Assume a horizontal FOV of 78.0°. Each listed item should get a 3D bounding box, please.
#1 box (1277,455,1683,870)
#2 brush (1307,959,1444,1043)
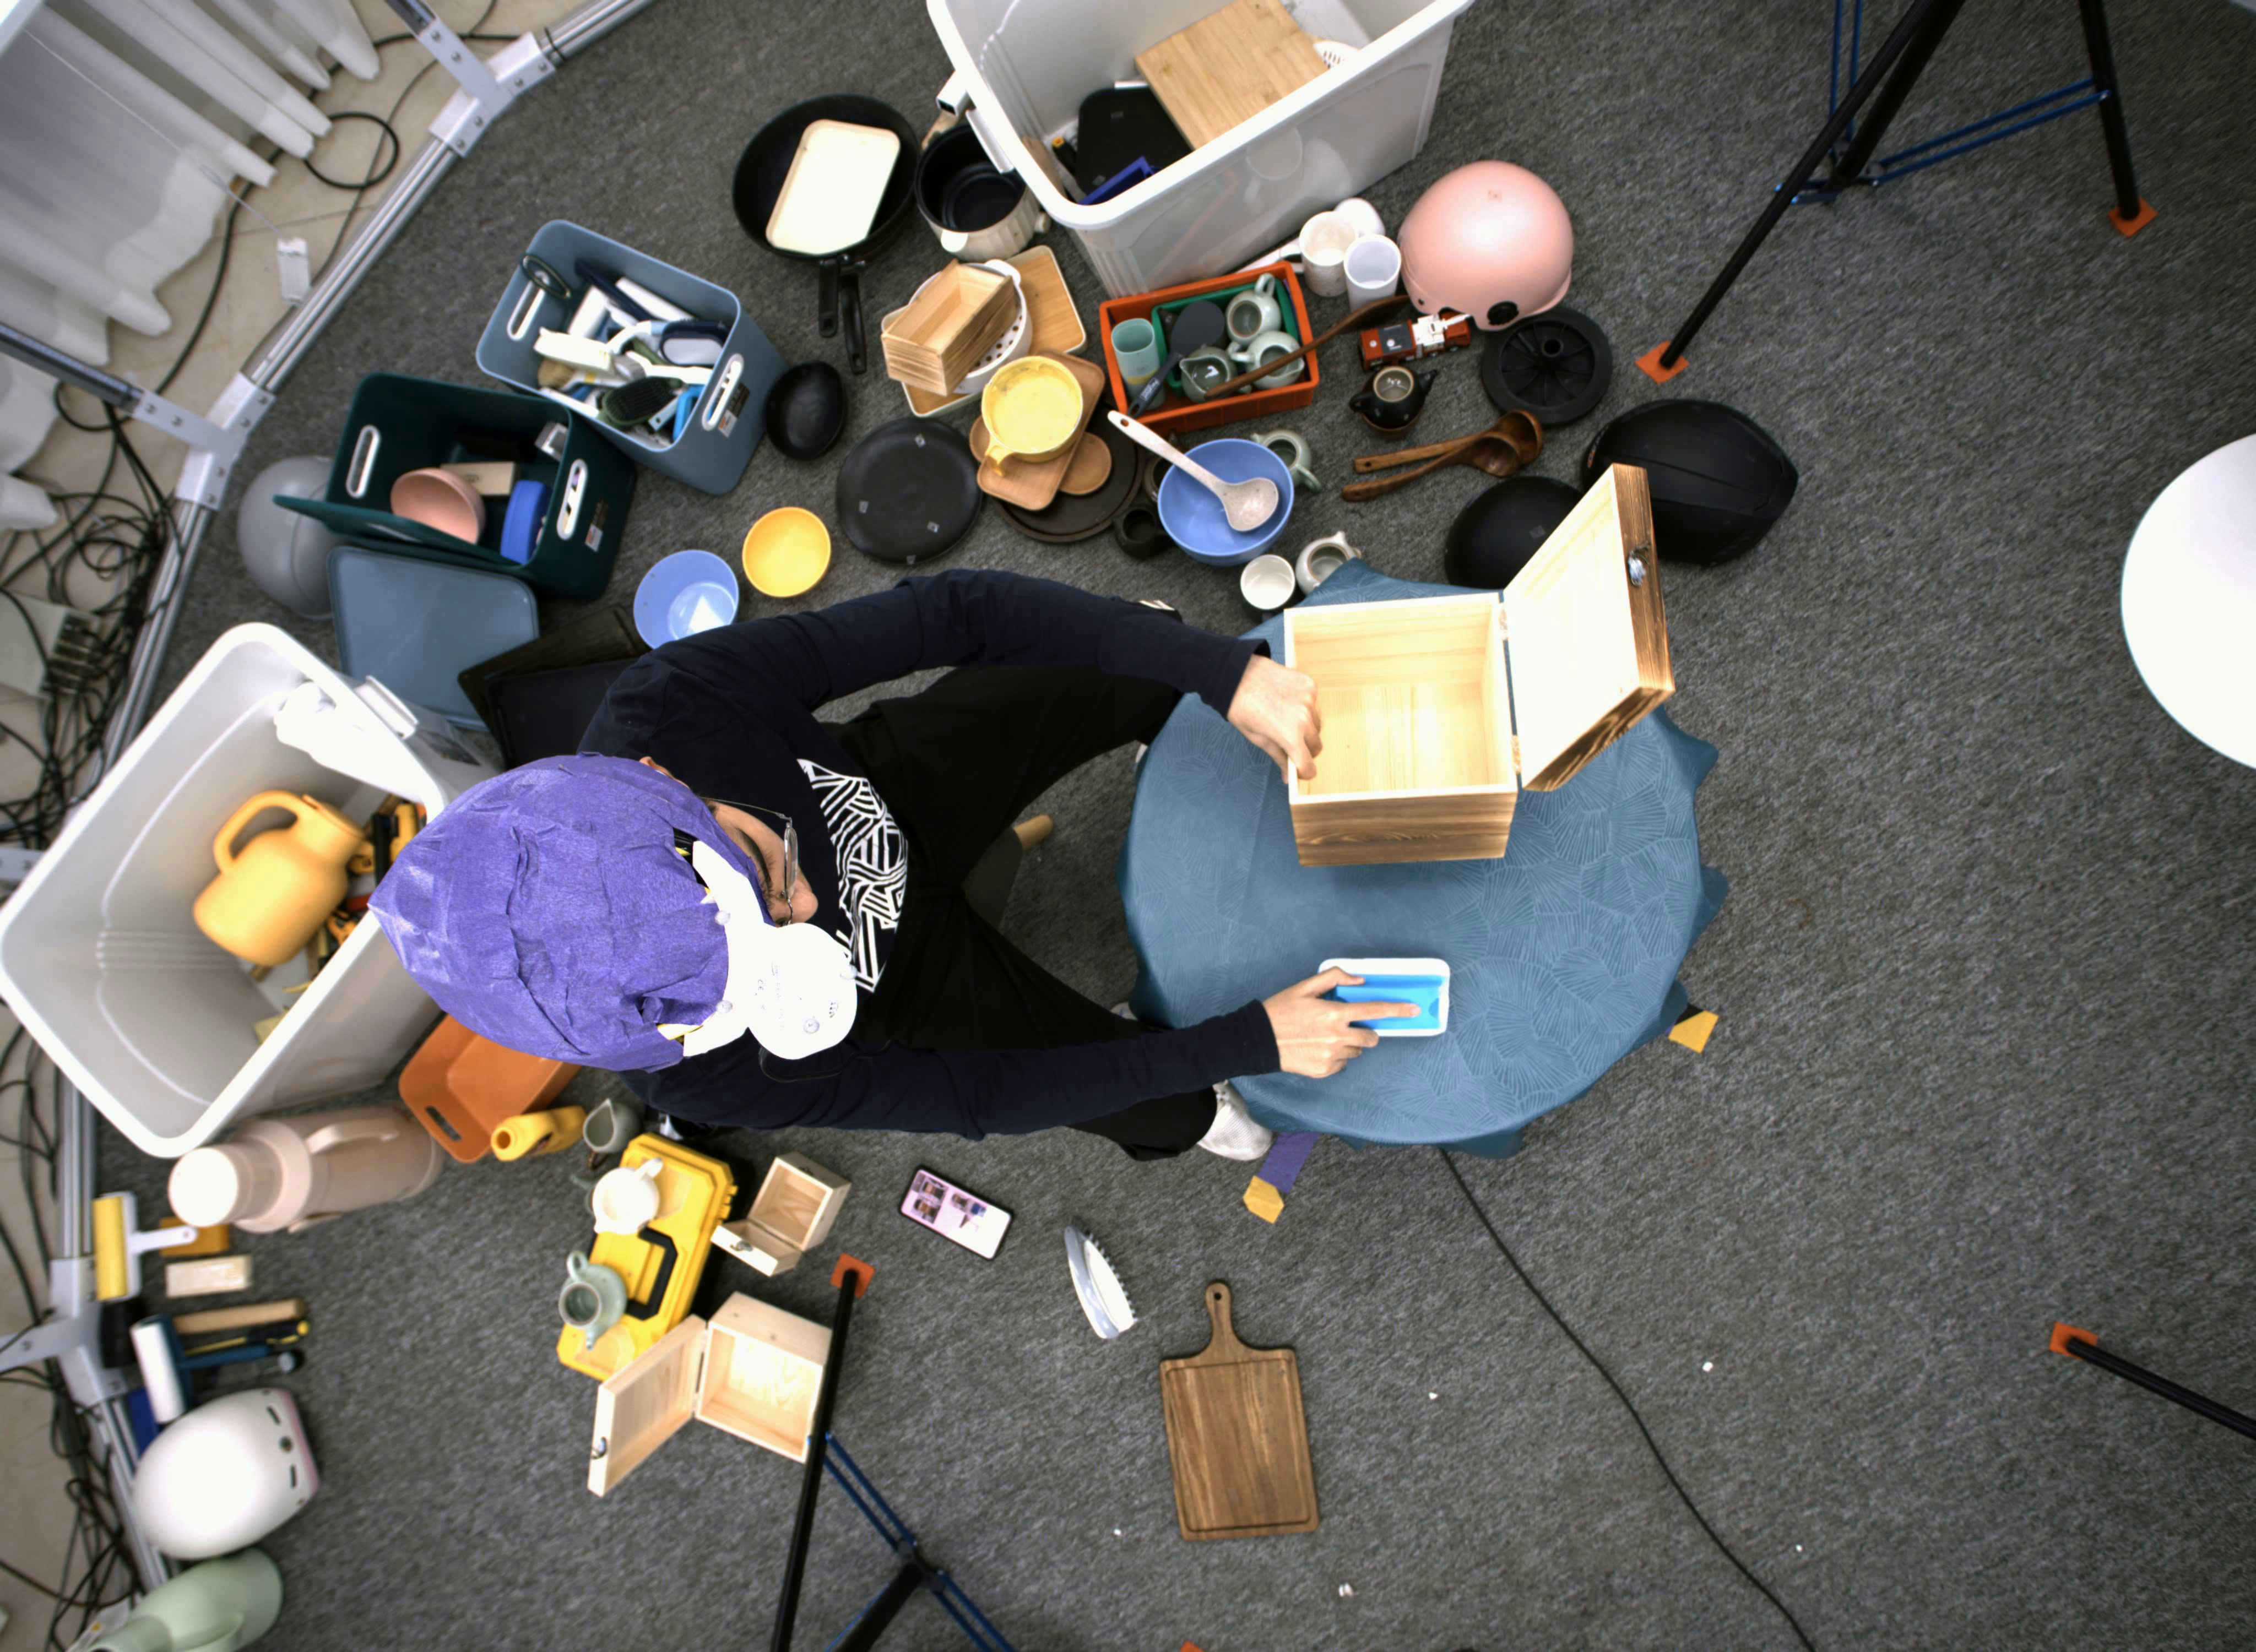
[{"bbox_3d":[0.291,-0.129,1.225,0.323,0.381,0.205,-3,68,10],"label":"box"},{"bbox_3d":[0.255,0.178,1.394,0.144,0.056,0.084,2,93,-6],"label":"brush"}]
